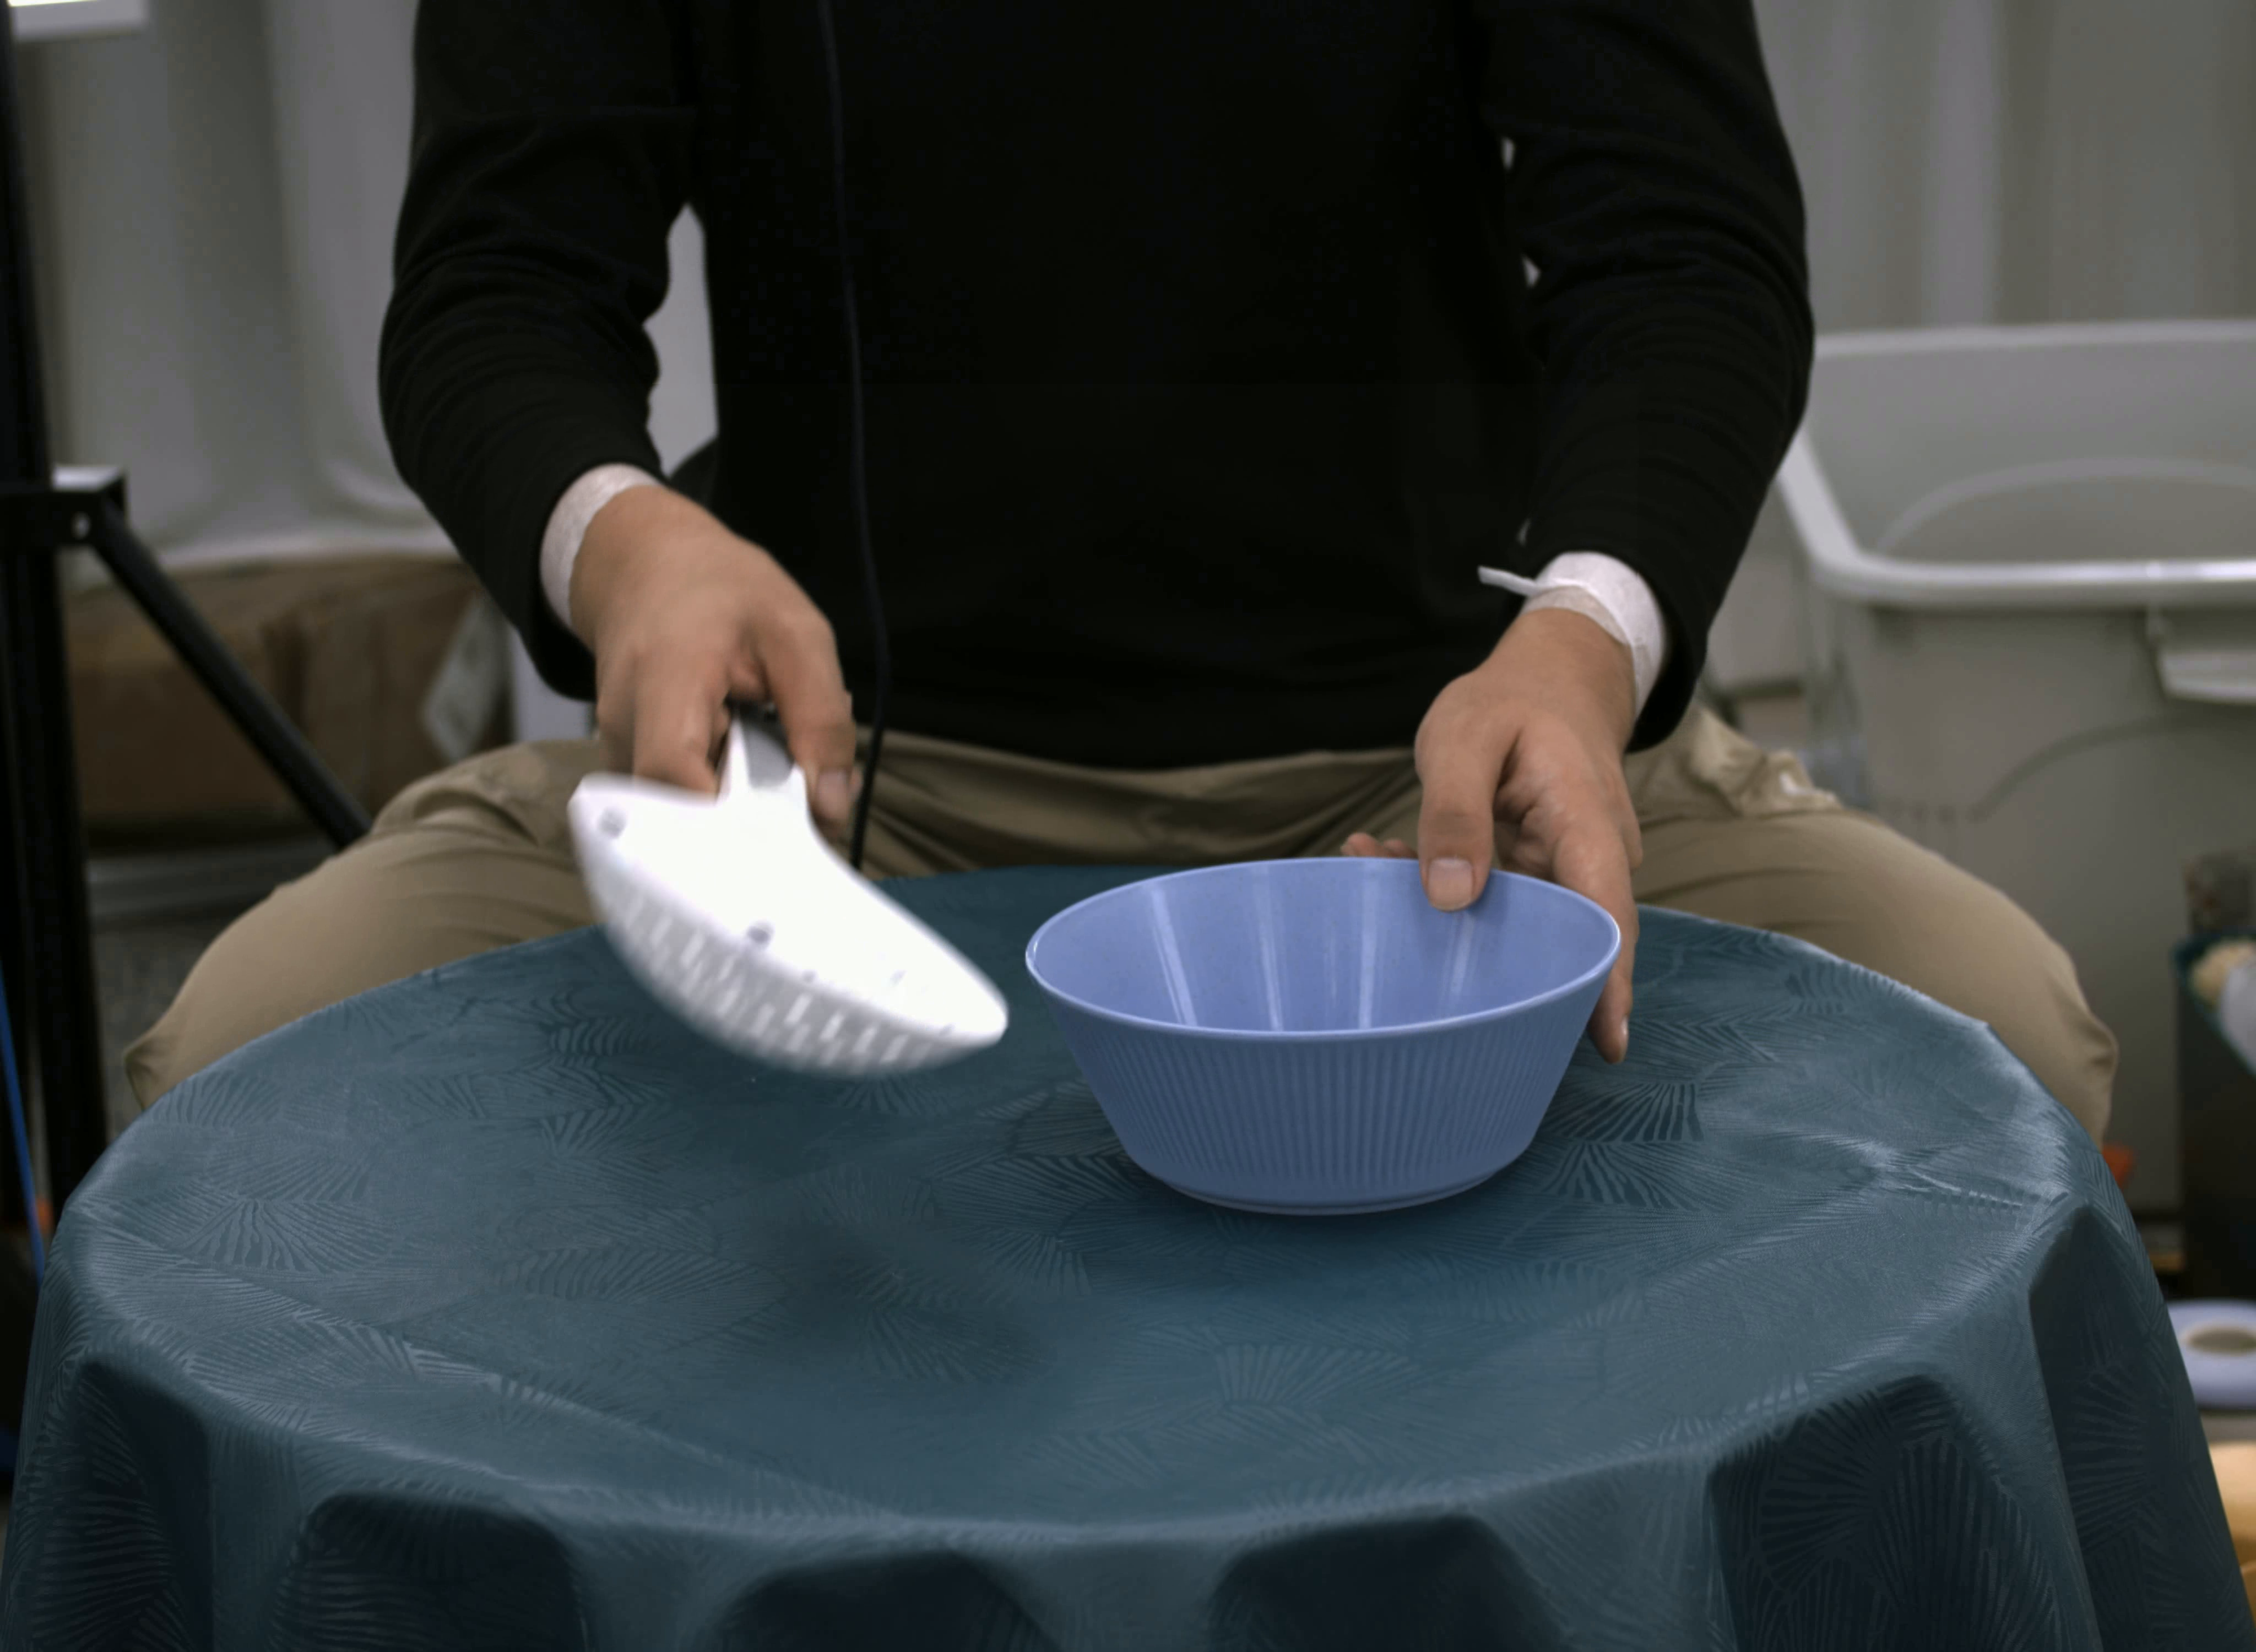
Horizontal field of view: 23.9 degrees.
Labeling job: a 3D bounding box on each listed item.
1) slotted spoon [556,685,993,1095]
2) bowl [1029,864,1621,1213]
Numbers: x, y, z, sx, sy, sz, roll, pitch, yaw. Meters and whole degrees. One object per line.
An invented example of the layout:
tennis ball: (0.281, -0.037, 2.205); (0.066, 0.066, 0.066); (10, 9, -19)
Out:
slotted spoon: (-0.110, 0.008, 1.576); (0.134, 0.046, 0.352); (26, 16, -11)
bowl: (0.059, 0.065, 1.572); (0.175, 0.070, 0.177); (-3, 15, -1)
